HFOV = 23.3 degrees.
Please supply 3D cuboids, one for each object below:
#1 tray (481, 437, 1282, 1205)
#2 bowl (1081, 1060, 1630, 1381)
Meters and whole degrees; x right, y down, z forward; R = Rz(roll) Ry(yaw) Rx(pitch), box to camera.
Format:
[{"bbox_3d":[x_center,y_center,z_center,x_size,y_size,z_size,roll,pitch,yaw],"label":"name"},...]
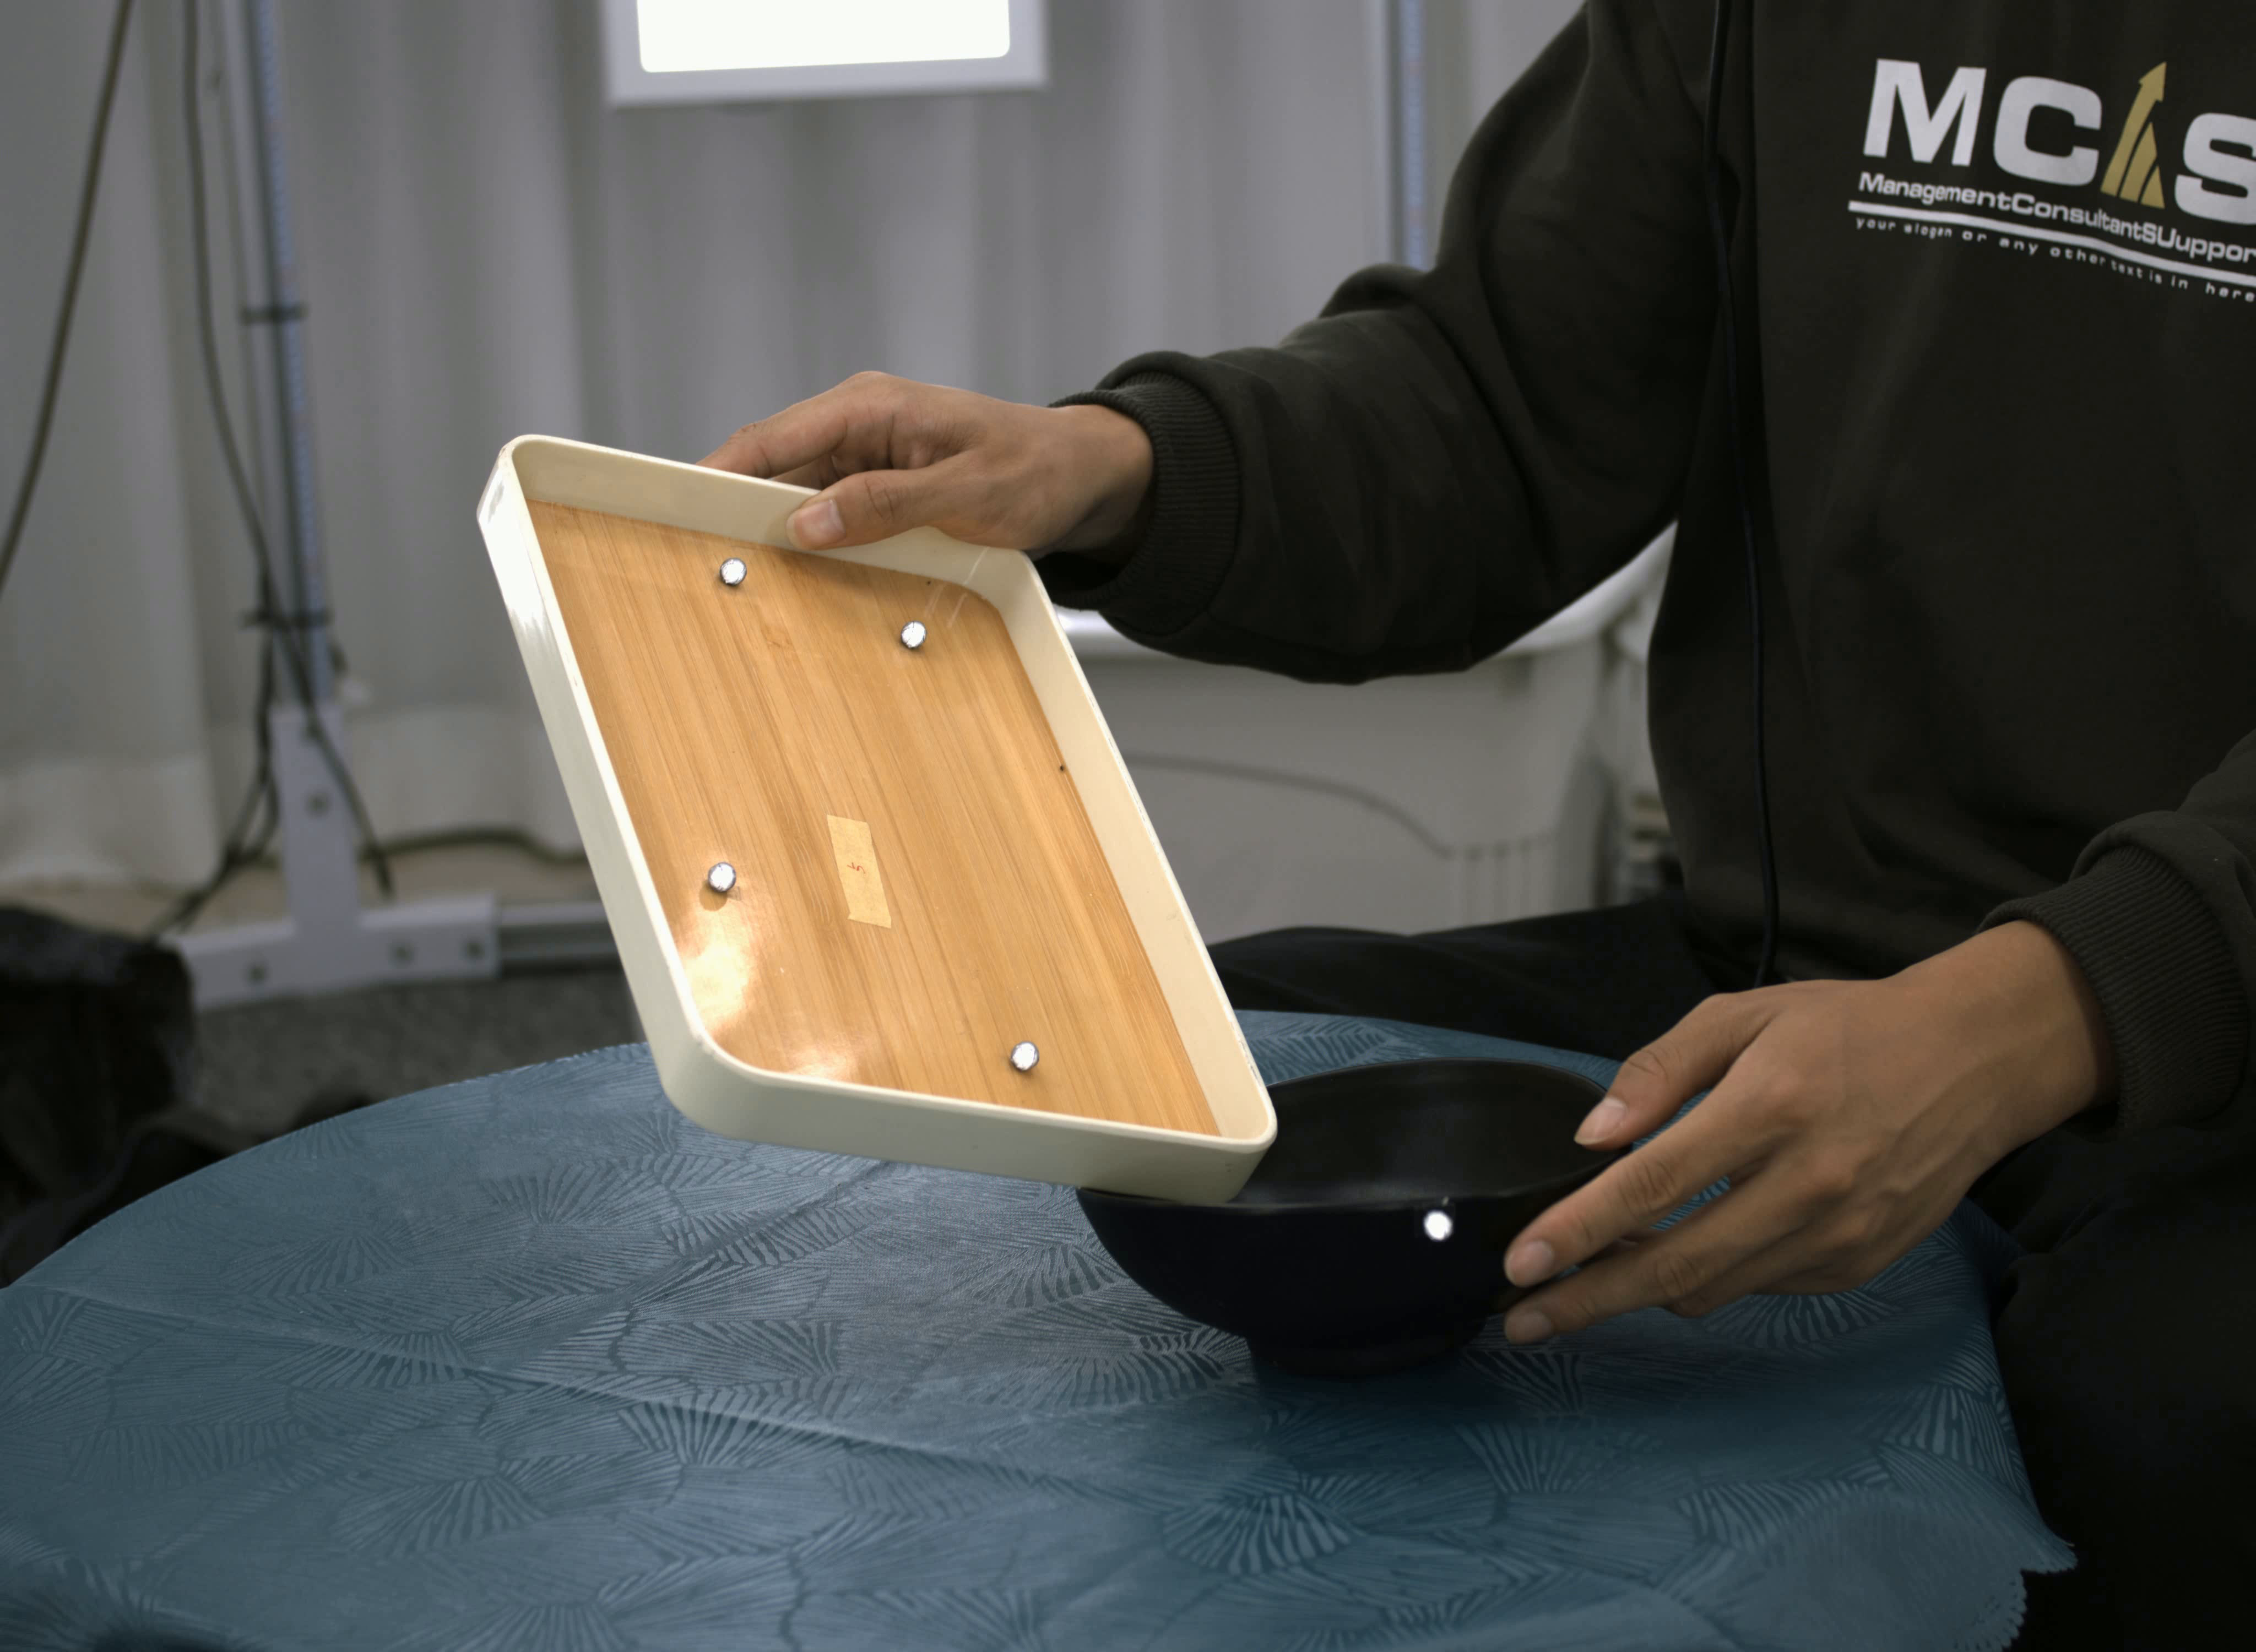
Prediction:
[{"bbox_3d":[-0.079,-0.005,1.654,0.190,0.027,0.305,10,35,-28],"label":"tray"},{"bbox_3d":[0.066,0.118,1.566,0.170,0.066,0.137,-3,13,31],"label":"bowl"}]
